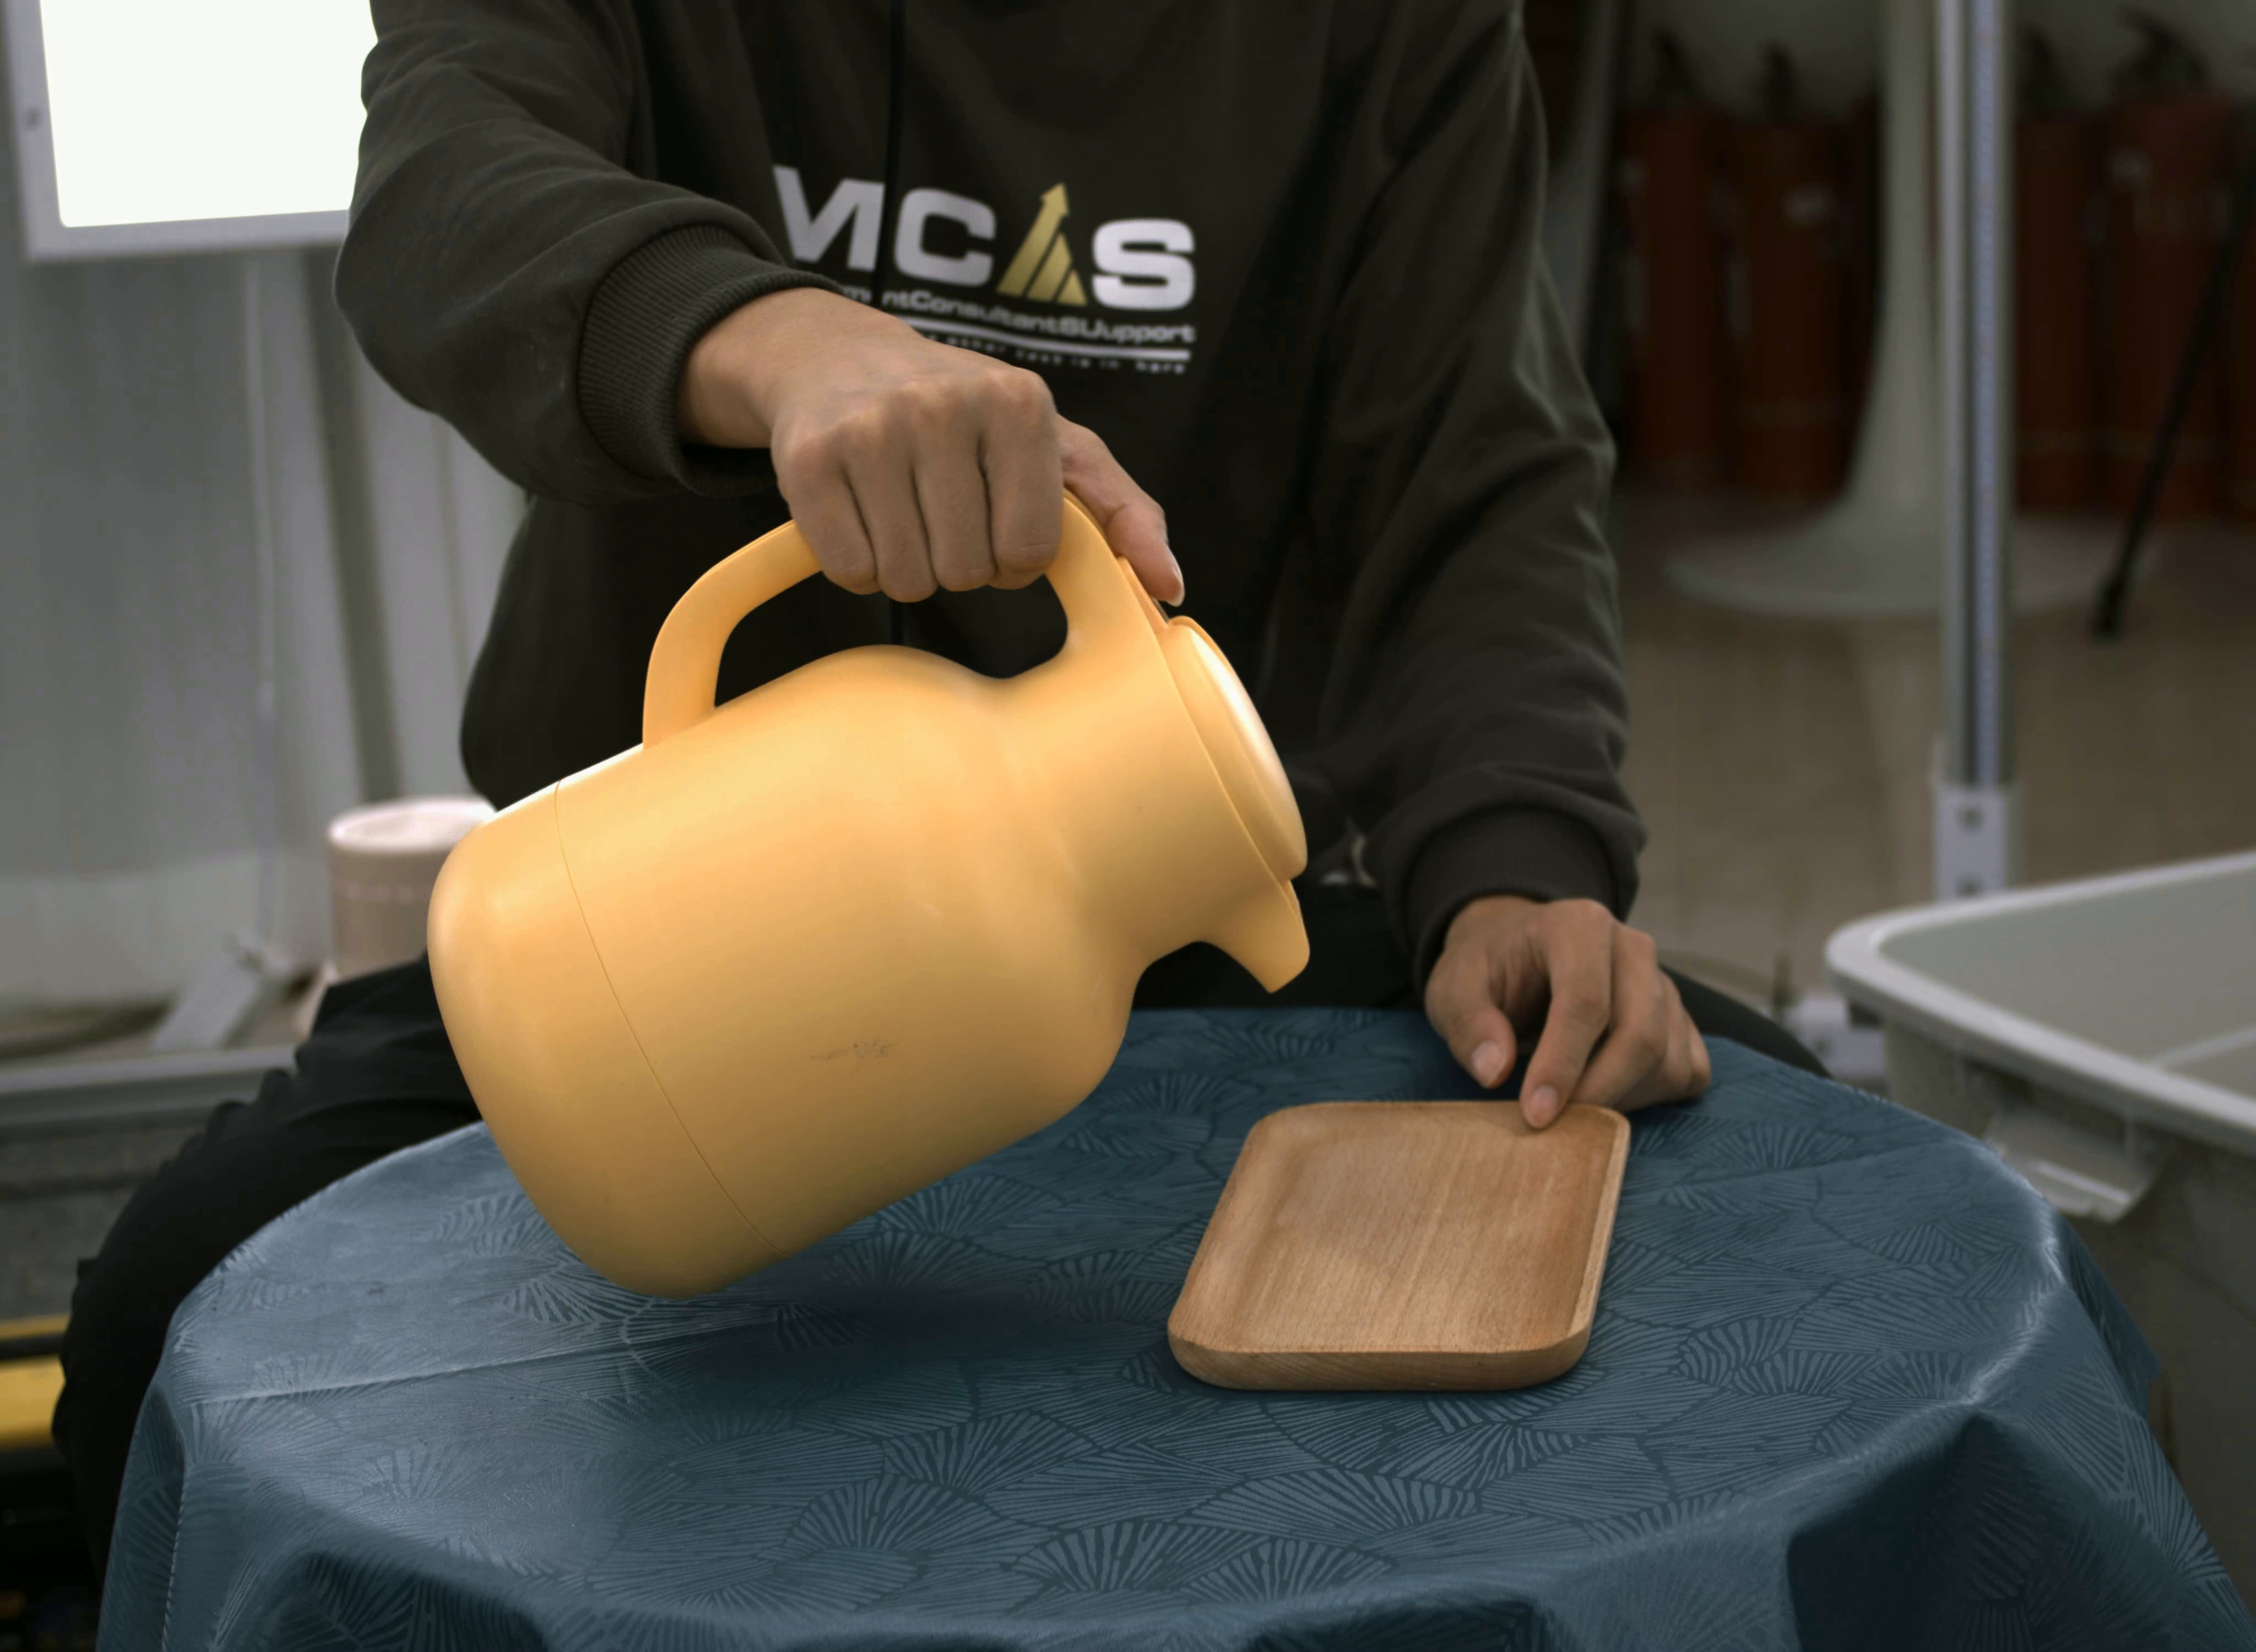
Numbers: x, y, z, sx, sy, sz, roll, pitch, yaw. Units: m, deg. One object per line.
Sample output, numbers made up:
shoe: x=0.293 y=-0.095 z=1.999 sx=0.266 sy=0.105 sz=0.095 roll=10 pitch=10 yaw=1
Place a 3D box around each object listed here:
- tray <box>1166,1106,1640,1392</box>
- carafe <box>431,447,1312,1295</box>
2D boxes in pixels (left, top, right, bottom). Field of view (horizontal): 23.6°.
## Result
tray: x=0.090 y=0.130 z=1.683 sx=0.129 sy=0.023 sz=0.249 roll=1 pitch=13 yaw=10
carafe: x=-0.081 y=0.008 z=1.644 sx=0.258 sy=0.204 sz=0.163 roll=-25 pitch=4 yaw=4
